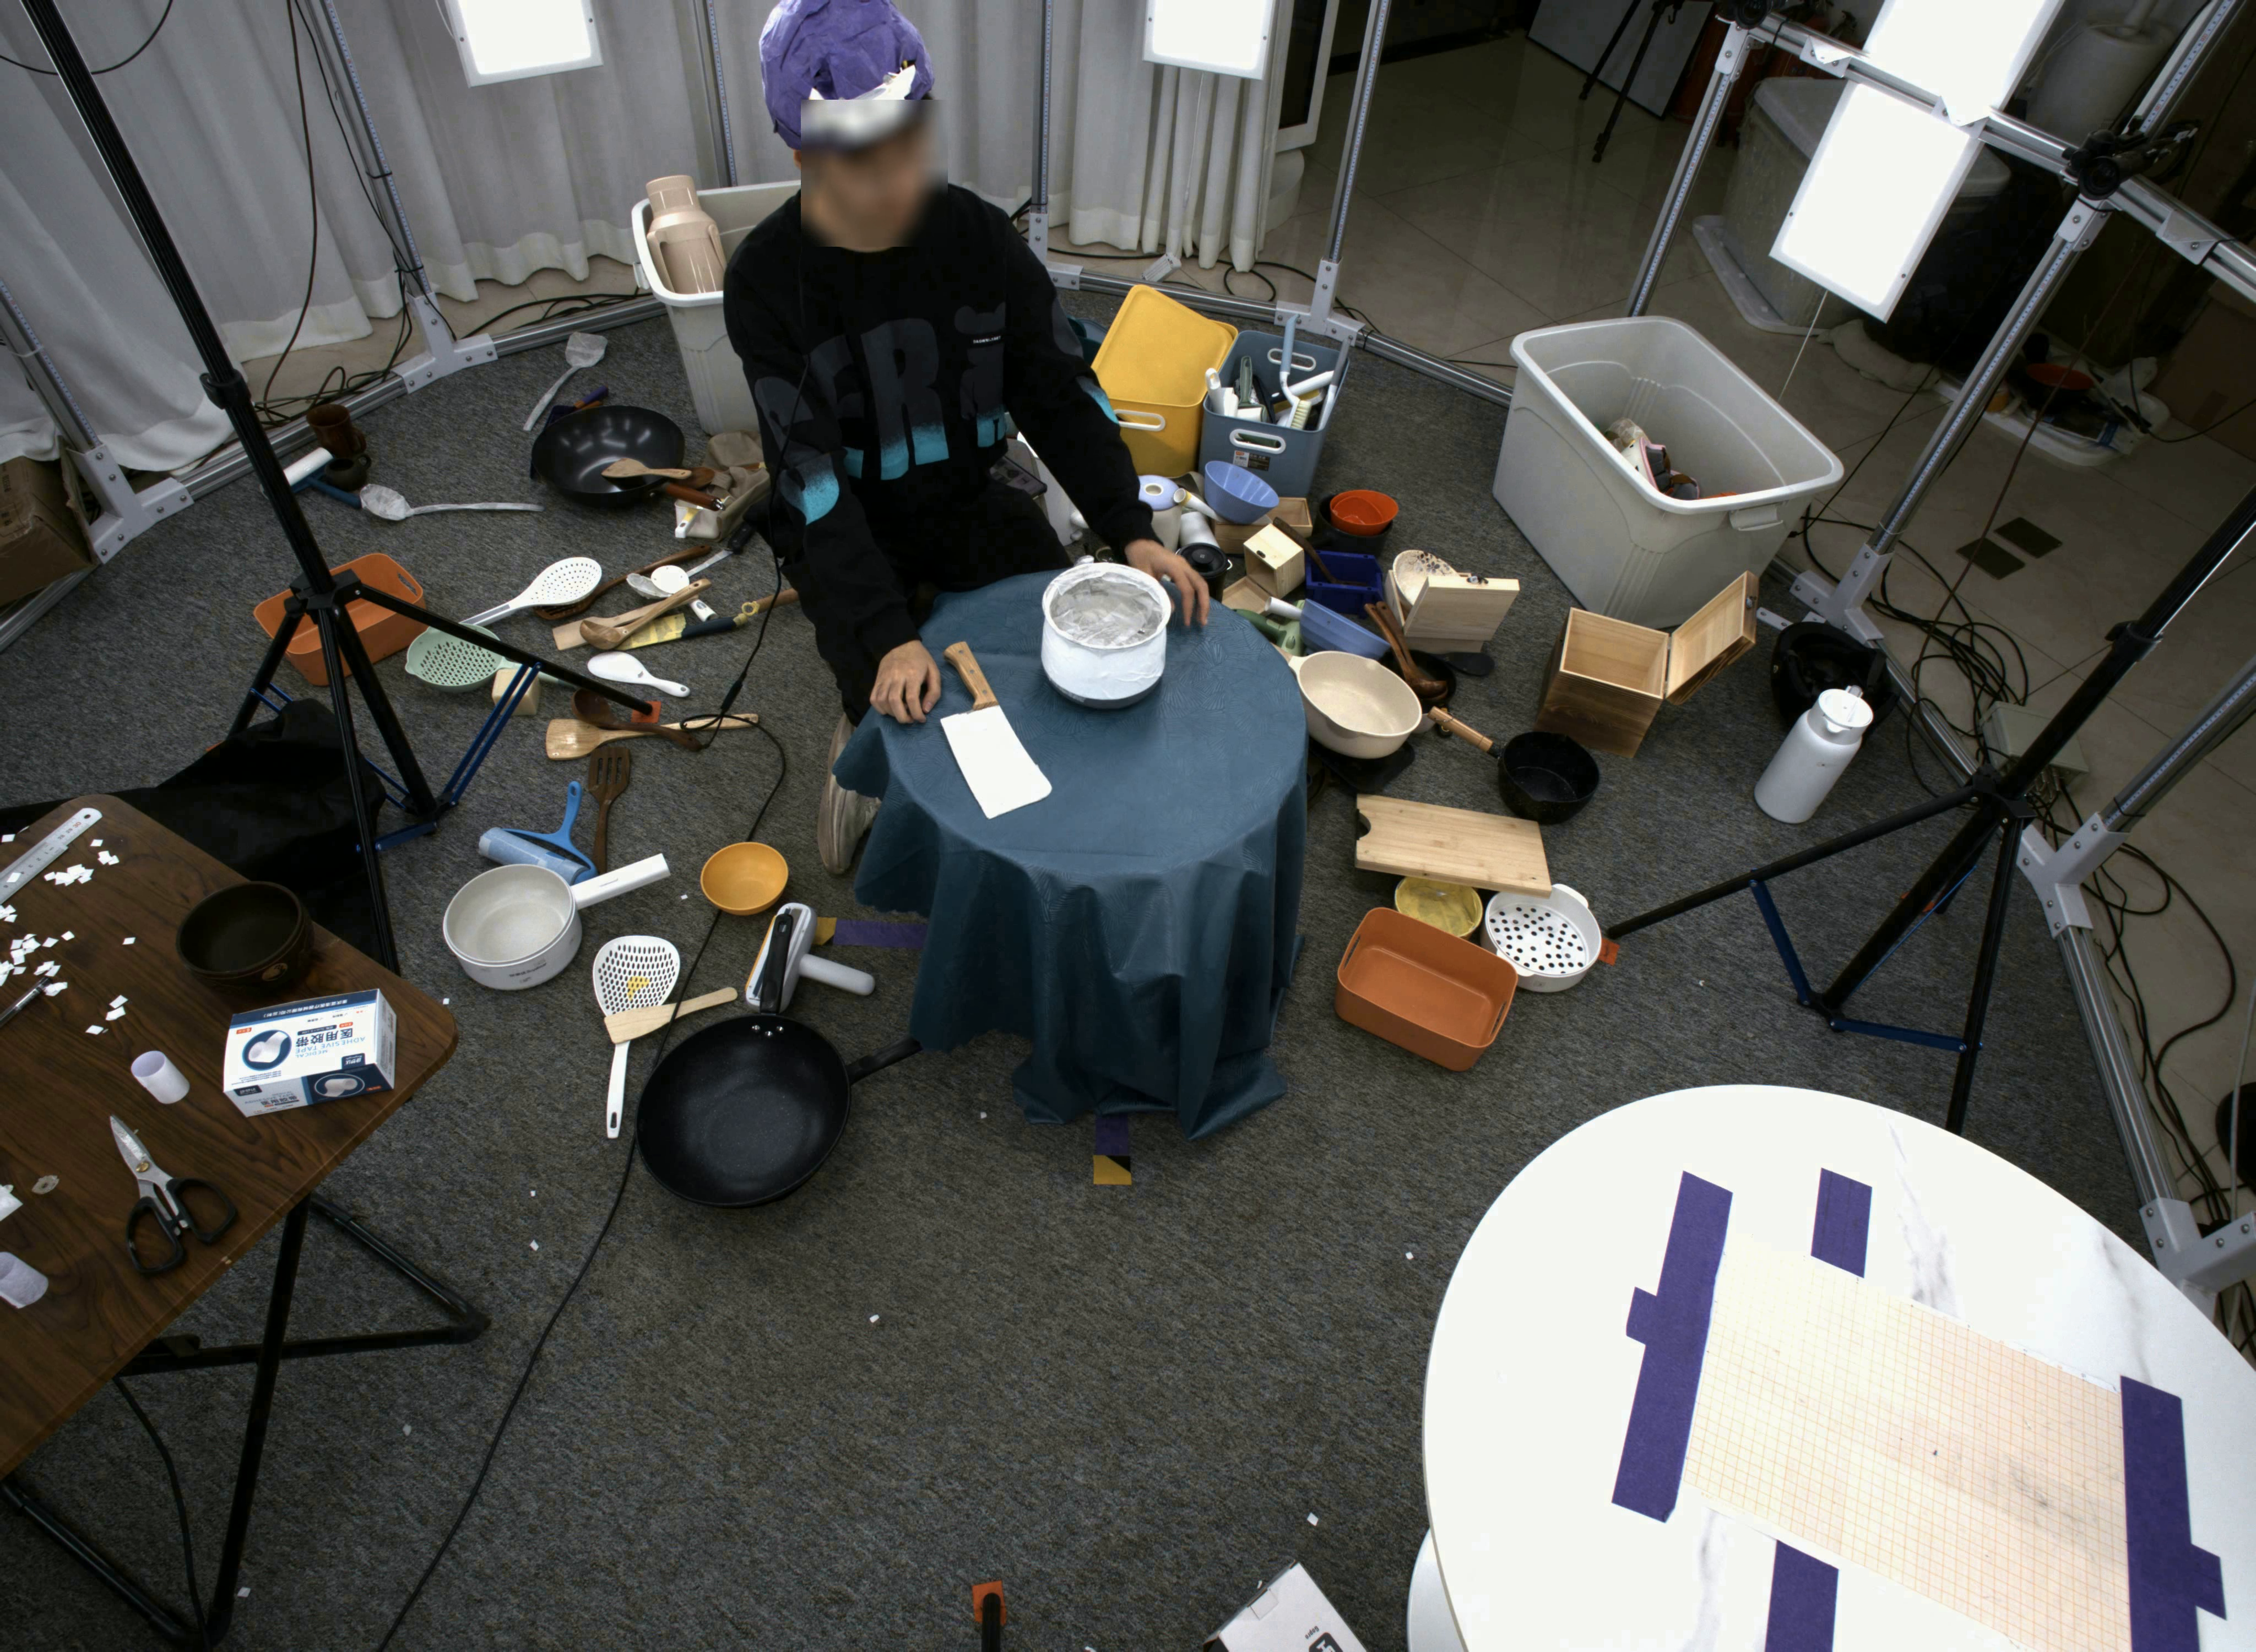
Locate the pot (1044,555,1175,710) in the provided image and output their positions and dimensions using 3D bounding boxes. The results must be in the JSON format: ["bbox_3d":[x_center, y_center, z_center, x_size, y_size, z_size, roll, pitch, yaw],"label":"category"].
[{"bbox_3d":[-0.037,-0.284,1.824,0.178,0.133,0.239,-11,52,-14],"label":"pot"}]

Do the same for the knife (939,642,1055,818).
[{"bbox_3d":[-0.194,-0.139,1.765,0.114,0.021,0.323,-14,54,-15],"label":"knife"}]
